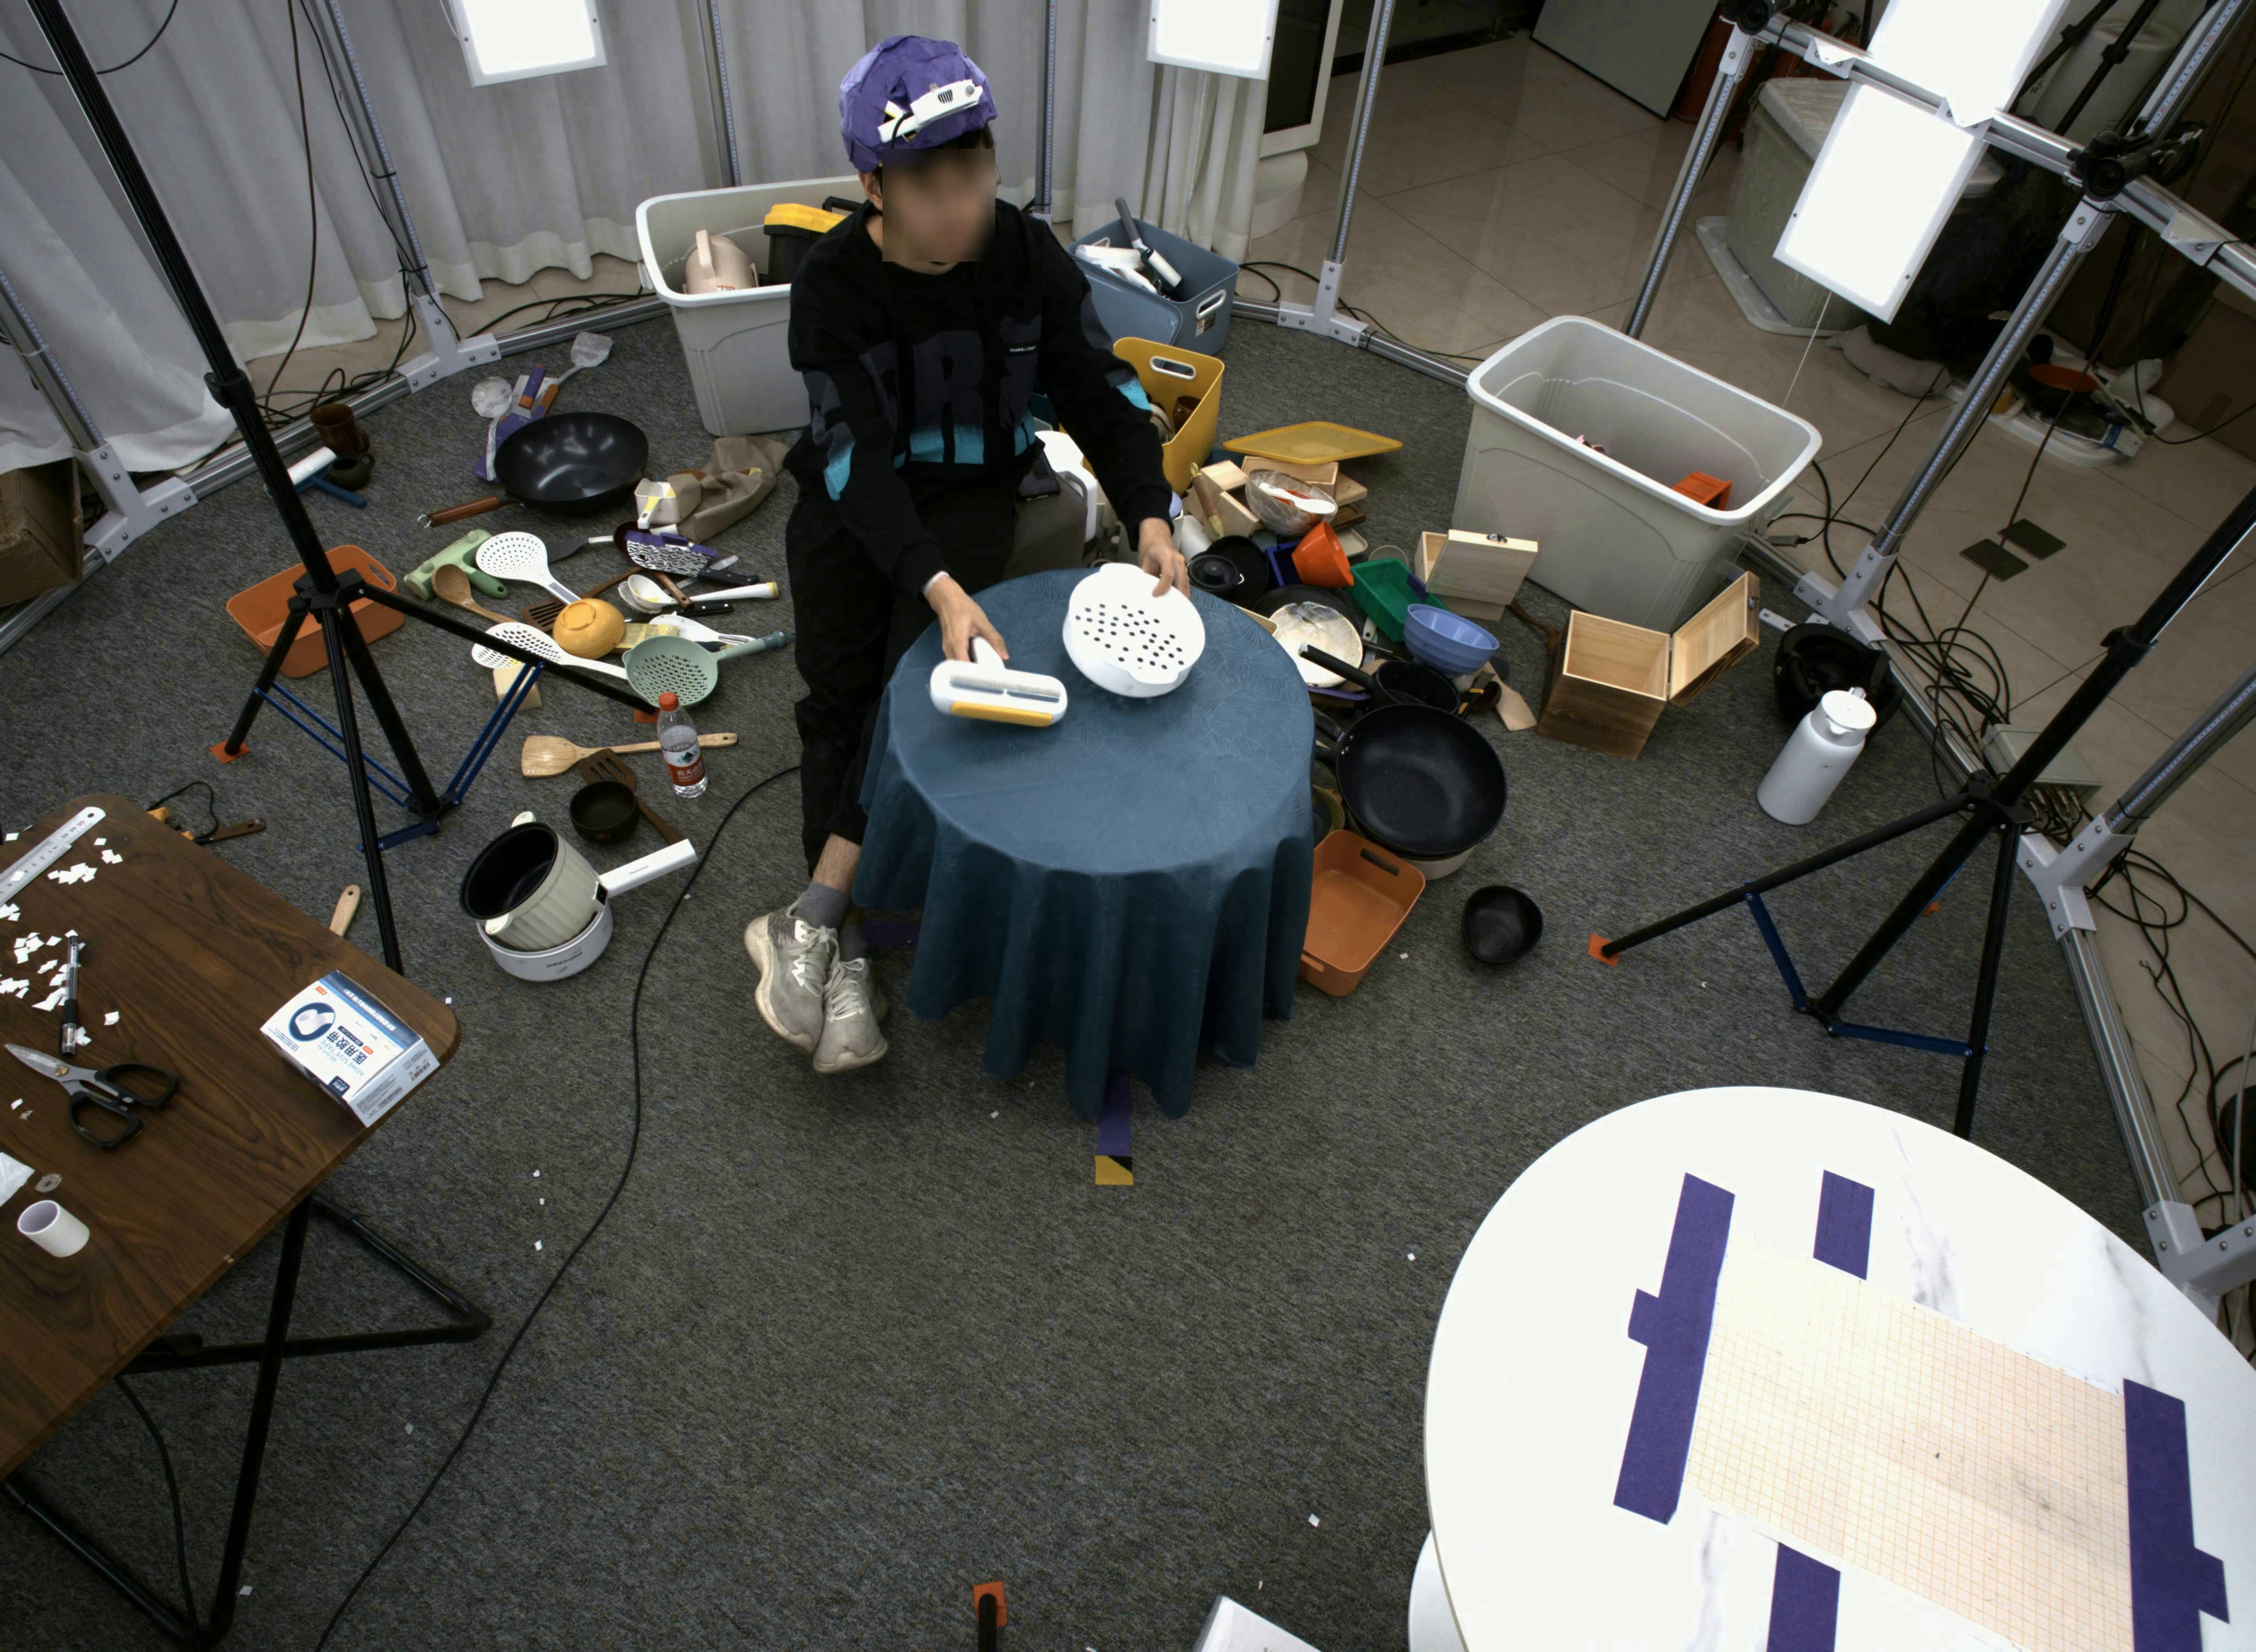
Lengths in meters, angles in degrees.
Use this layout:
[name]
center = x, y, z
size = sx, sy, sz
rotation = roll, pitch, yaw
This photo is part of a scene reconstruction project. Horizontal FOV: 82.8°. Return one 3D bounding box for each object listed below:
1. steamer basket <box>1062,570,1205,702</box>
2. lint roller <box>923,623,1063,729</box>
[steamer basket]
center = 0.007, -0.267, 1.839
size = 0.201, 0.068, 0.236
rotation = -1, 51, -21
[lint roller]
center = -0.191, -0.220, 1.780
size = 0.192, 0.073, 0.197
rotation = 4, 53, -19
